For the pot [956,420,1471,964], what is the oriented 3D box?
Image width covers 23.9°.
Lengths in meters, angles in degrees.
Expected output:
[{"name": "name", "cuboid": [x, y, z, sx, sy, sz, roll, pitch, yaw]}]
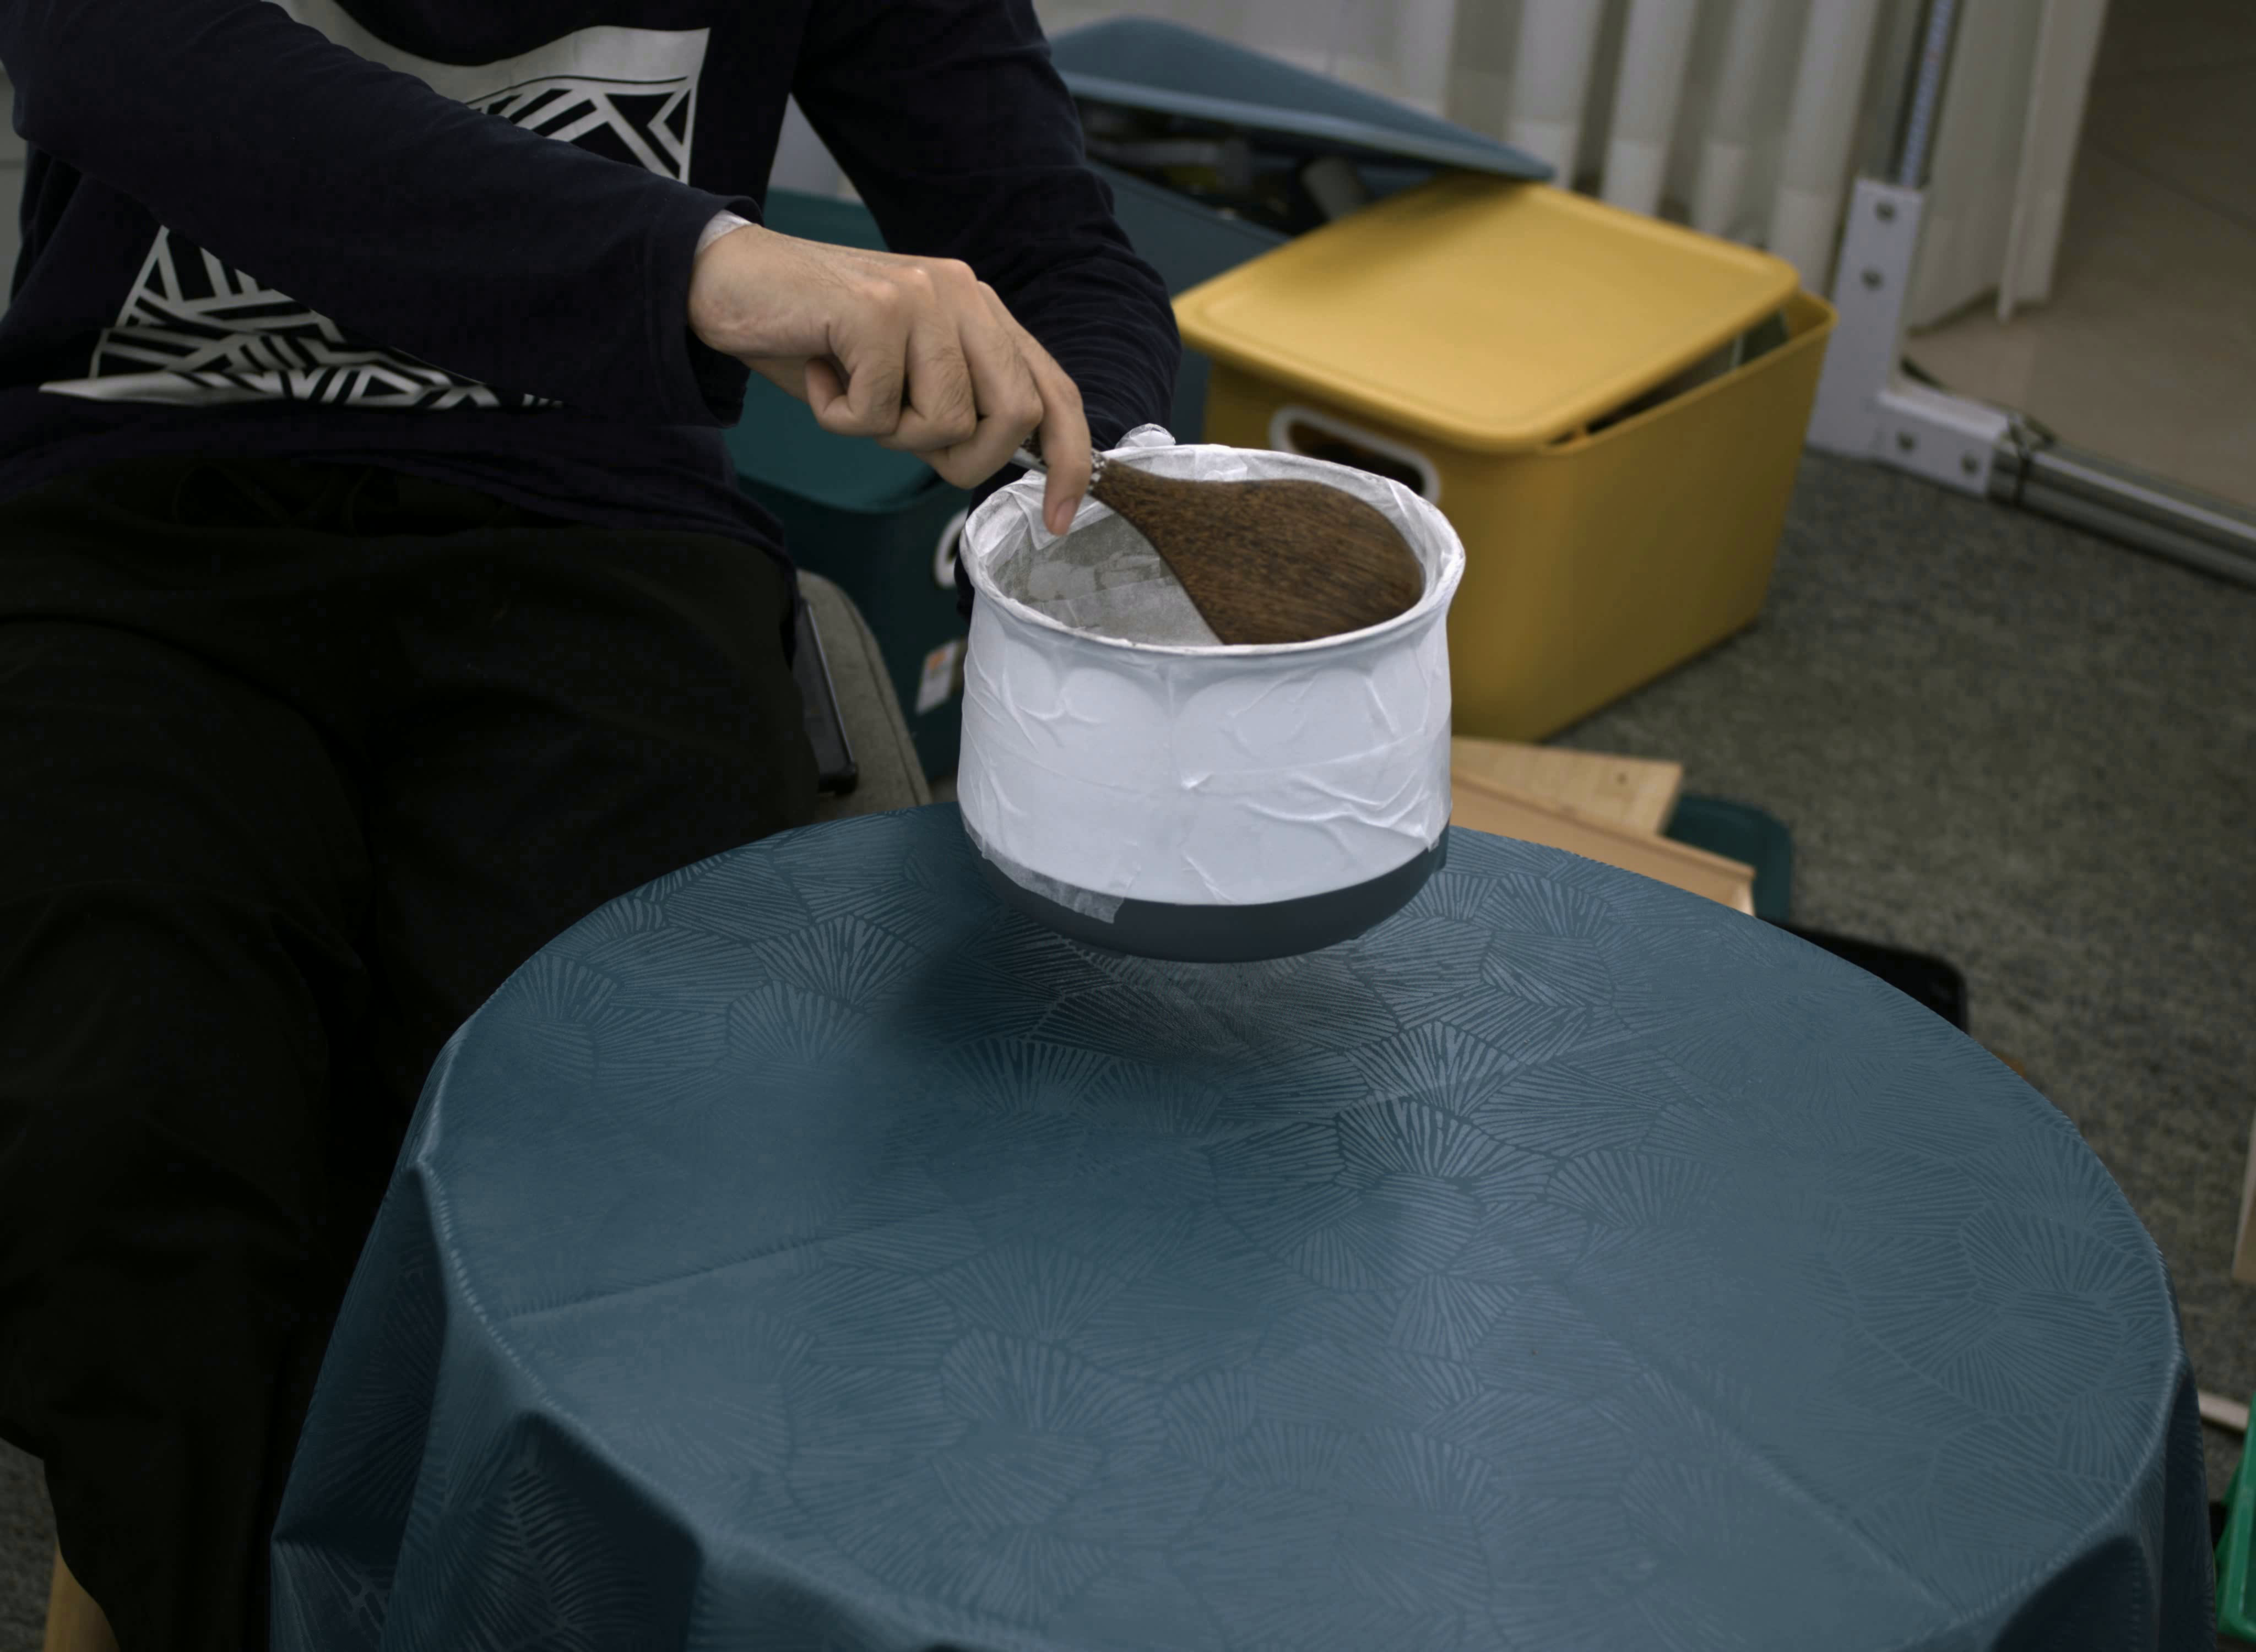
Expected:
[{"name": "pot", "cuboid": [0.021, -0.055, 1.917, 0.178, 0.136, 0.235, -3, 28, -14]}]

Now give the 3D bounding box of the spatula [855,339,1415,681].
[{"name": "spatula", "cuboid": [0.004, -0.114, 1.825, 0.215, 0.072, 0.009, 27, -17, -8]}]
